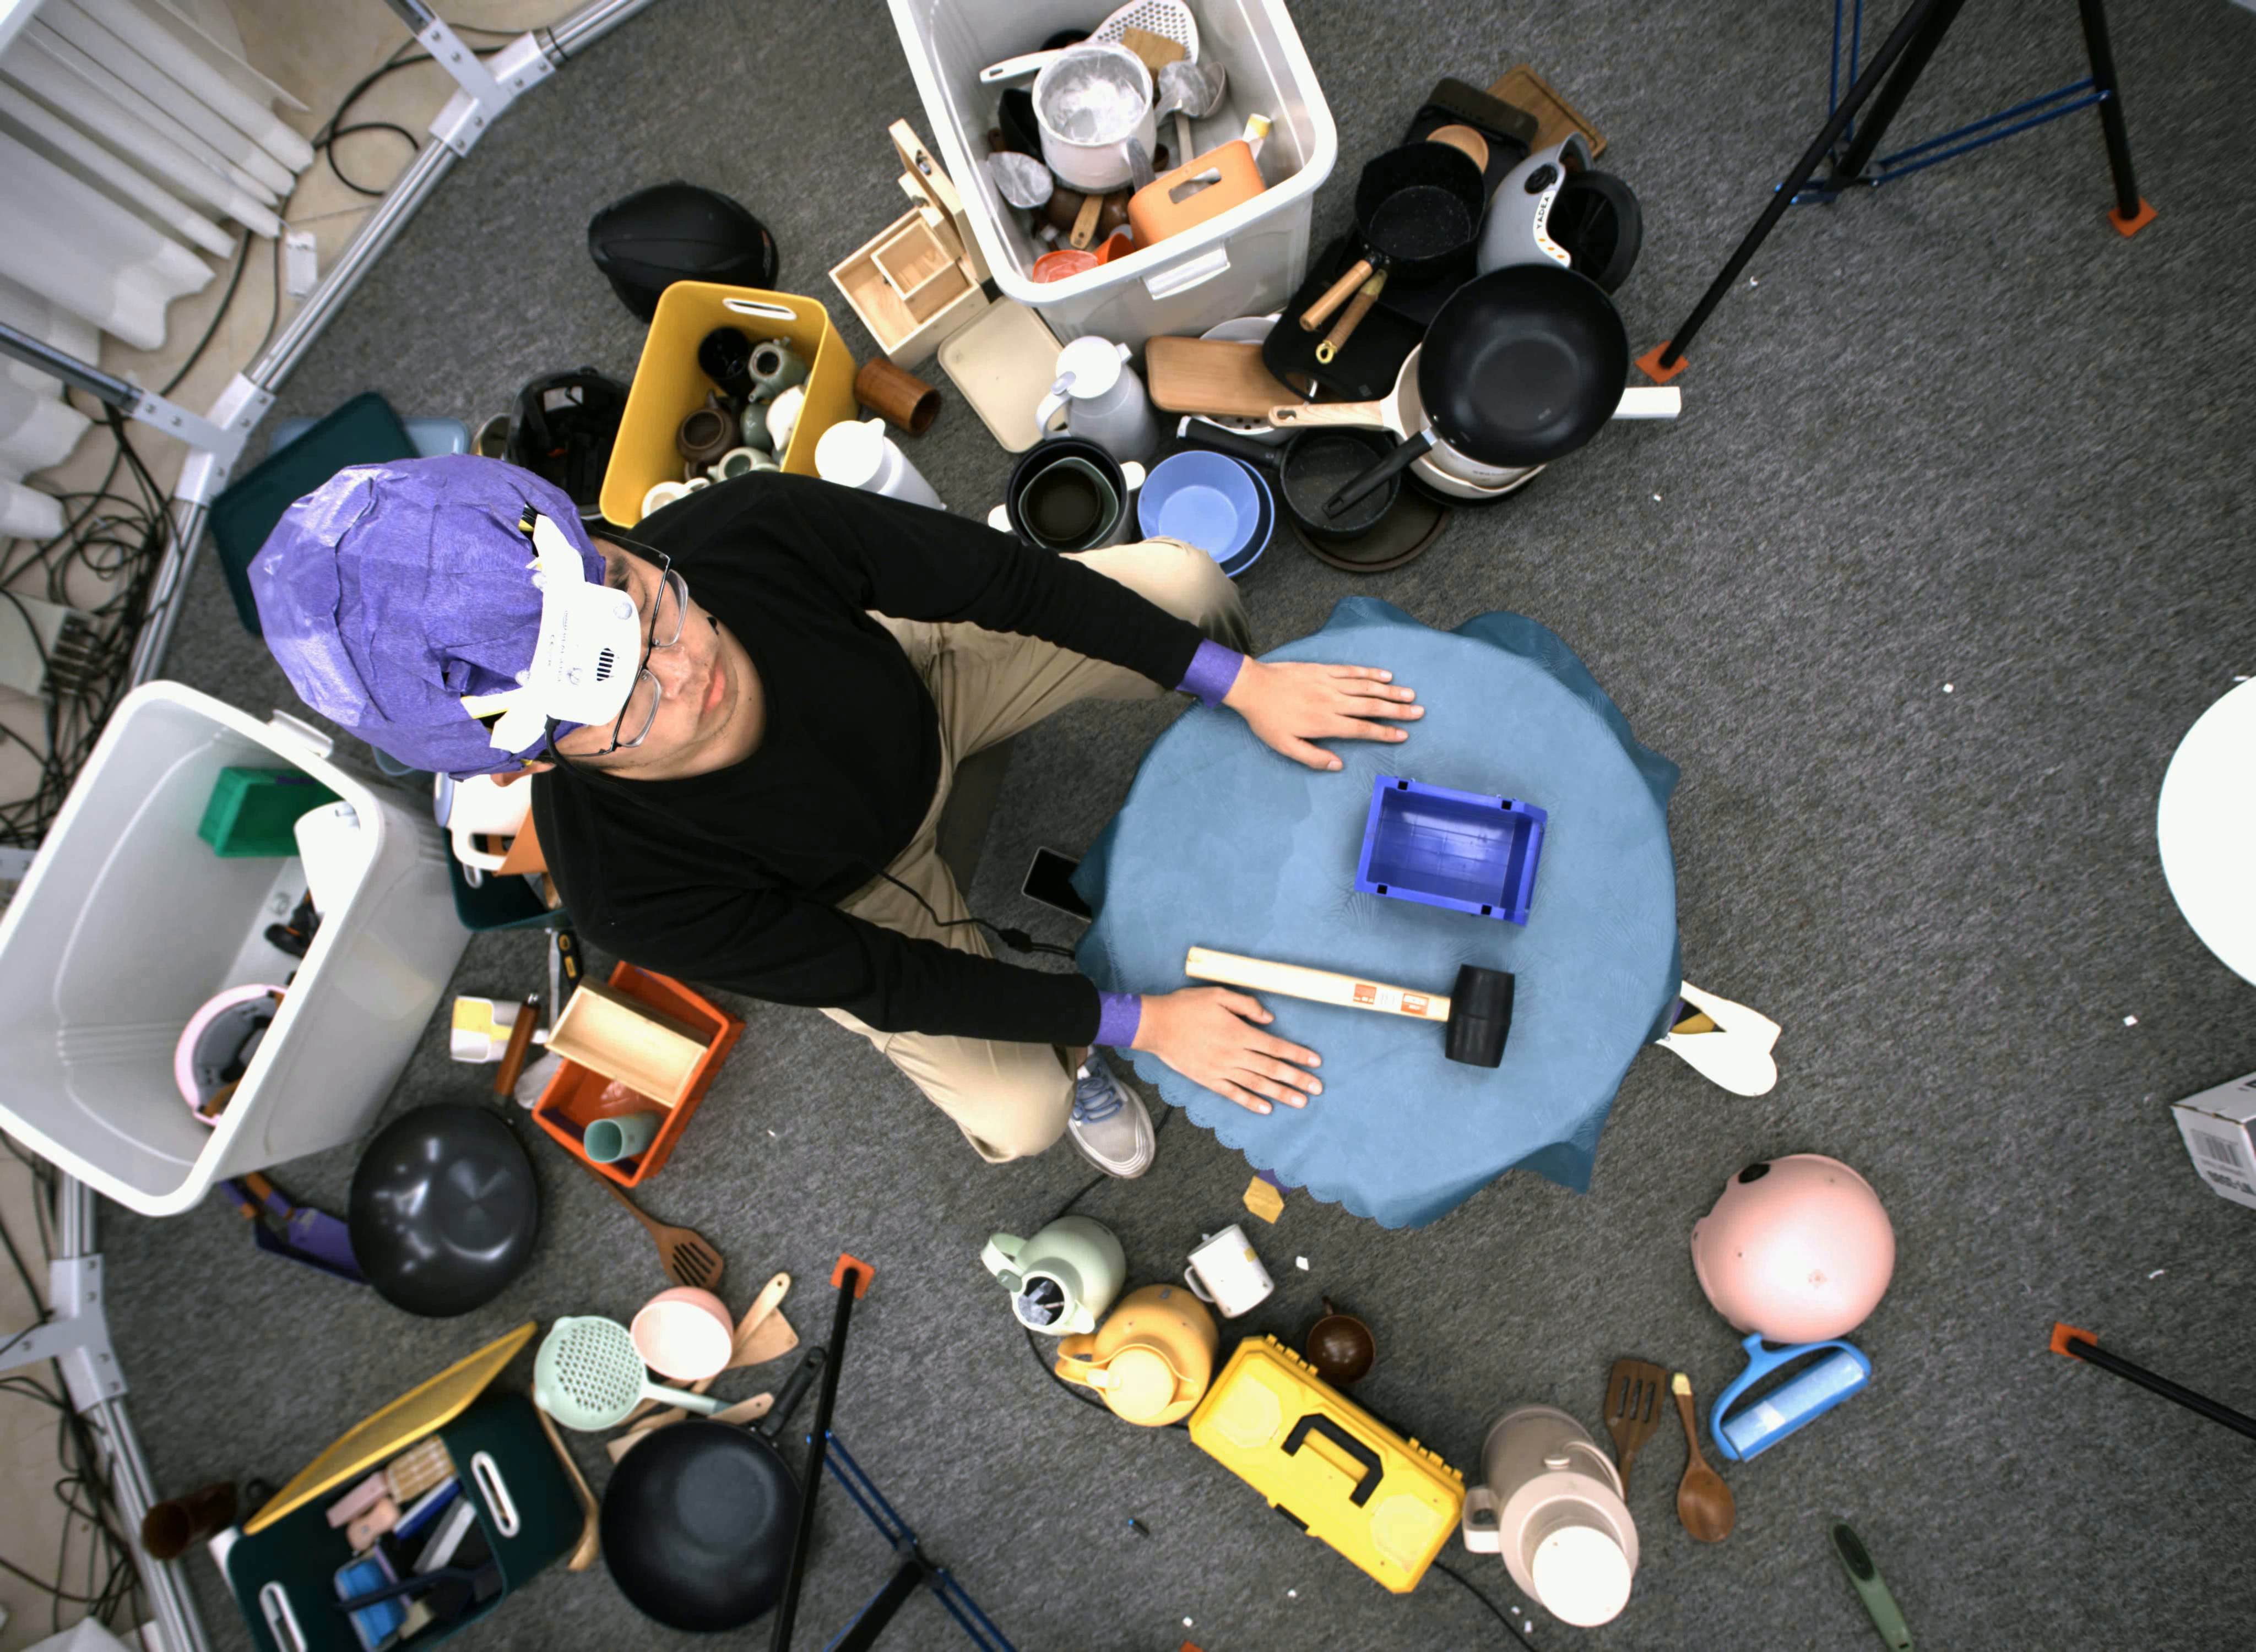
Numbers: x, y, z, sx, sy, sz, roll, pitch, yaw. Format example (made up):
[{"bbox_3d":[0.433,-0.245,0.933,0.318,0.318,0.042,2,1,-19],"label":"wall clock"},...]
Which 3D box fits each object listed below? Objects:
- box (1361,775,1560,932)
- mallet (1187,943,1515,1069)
[{"bbox_3d":[0.342,0.025,1.408,0.180,0.082,0.124,12,89,15],"label":"box"},{"bbox_3d":[0.226,0.169,1.435,0.340,0.064,0.101,10,88,12],"label":"mallet"}]
